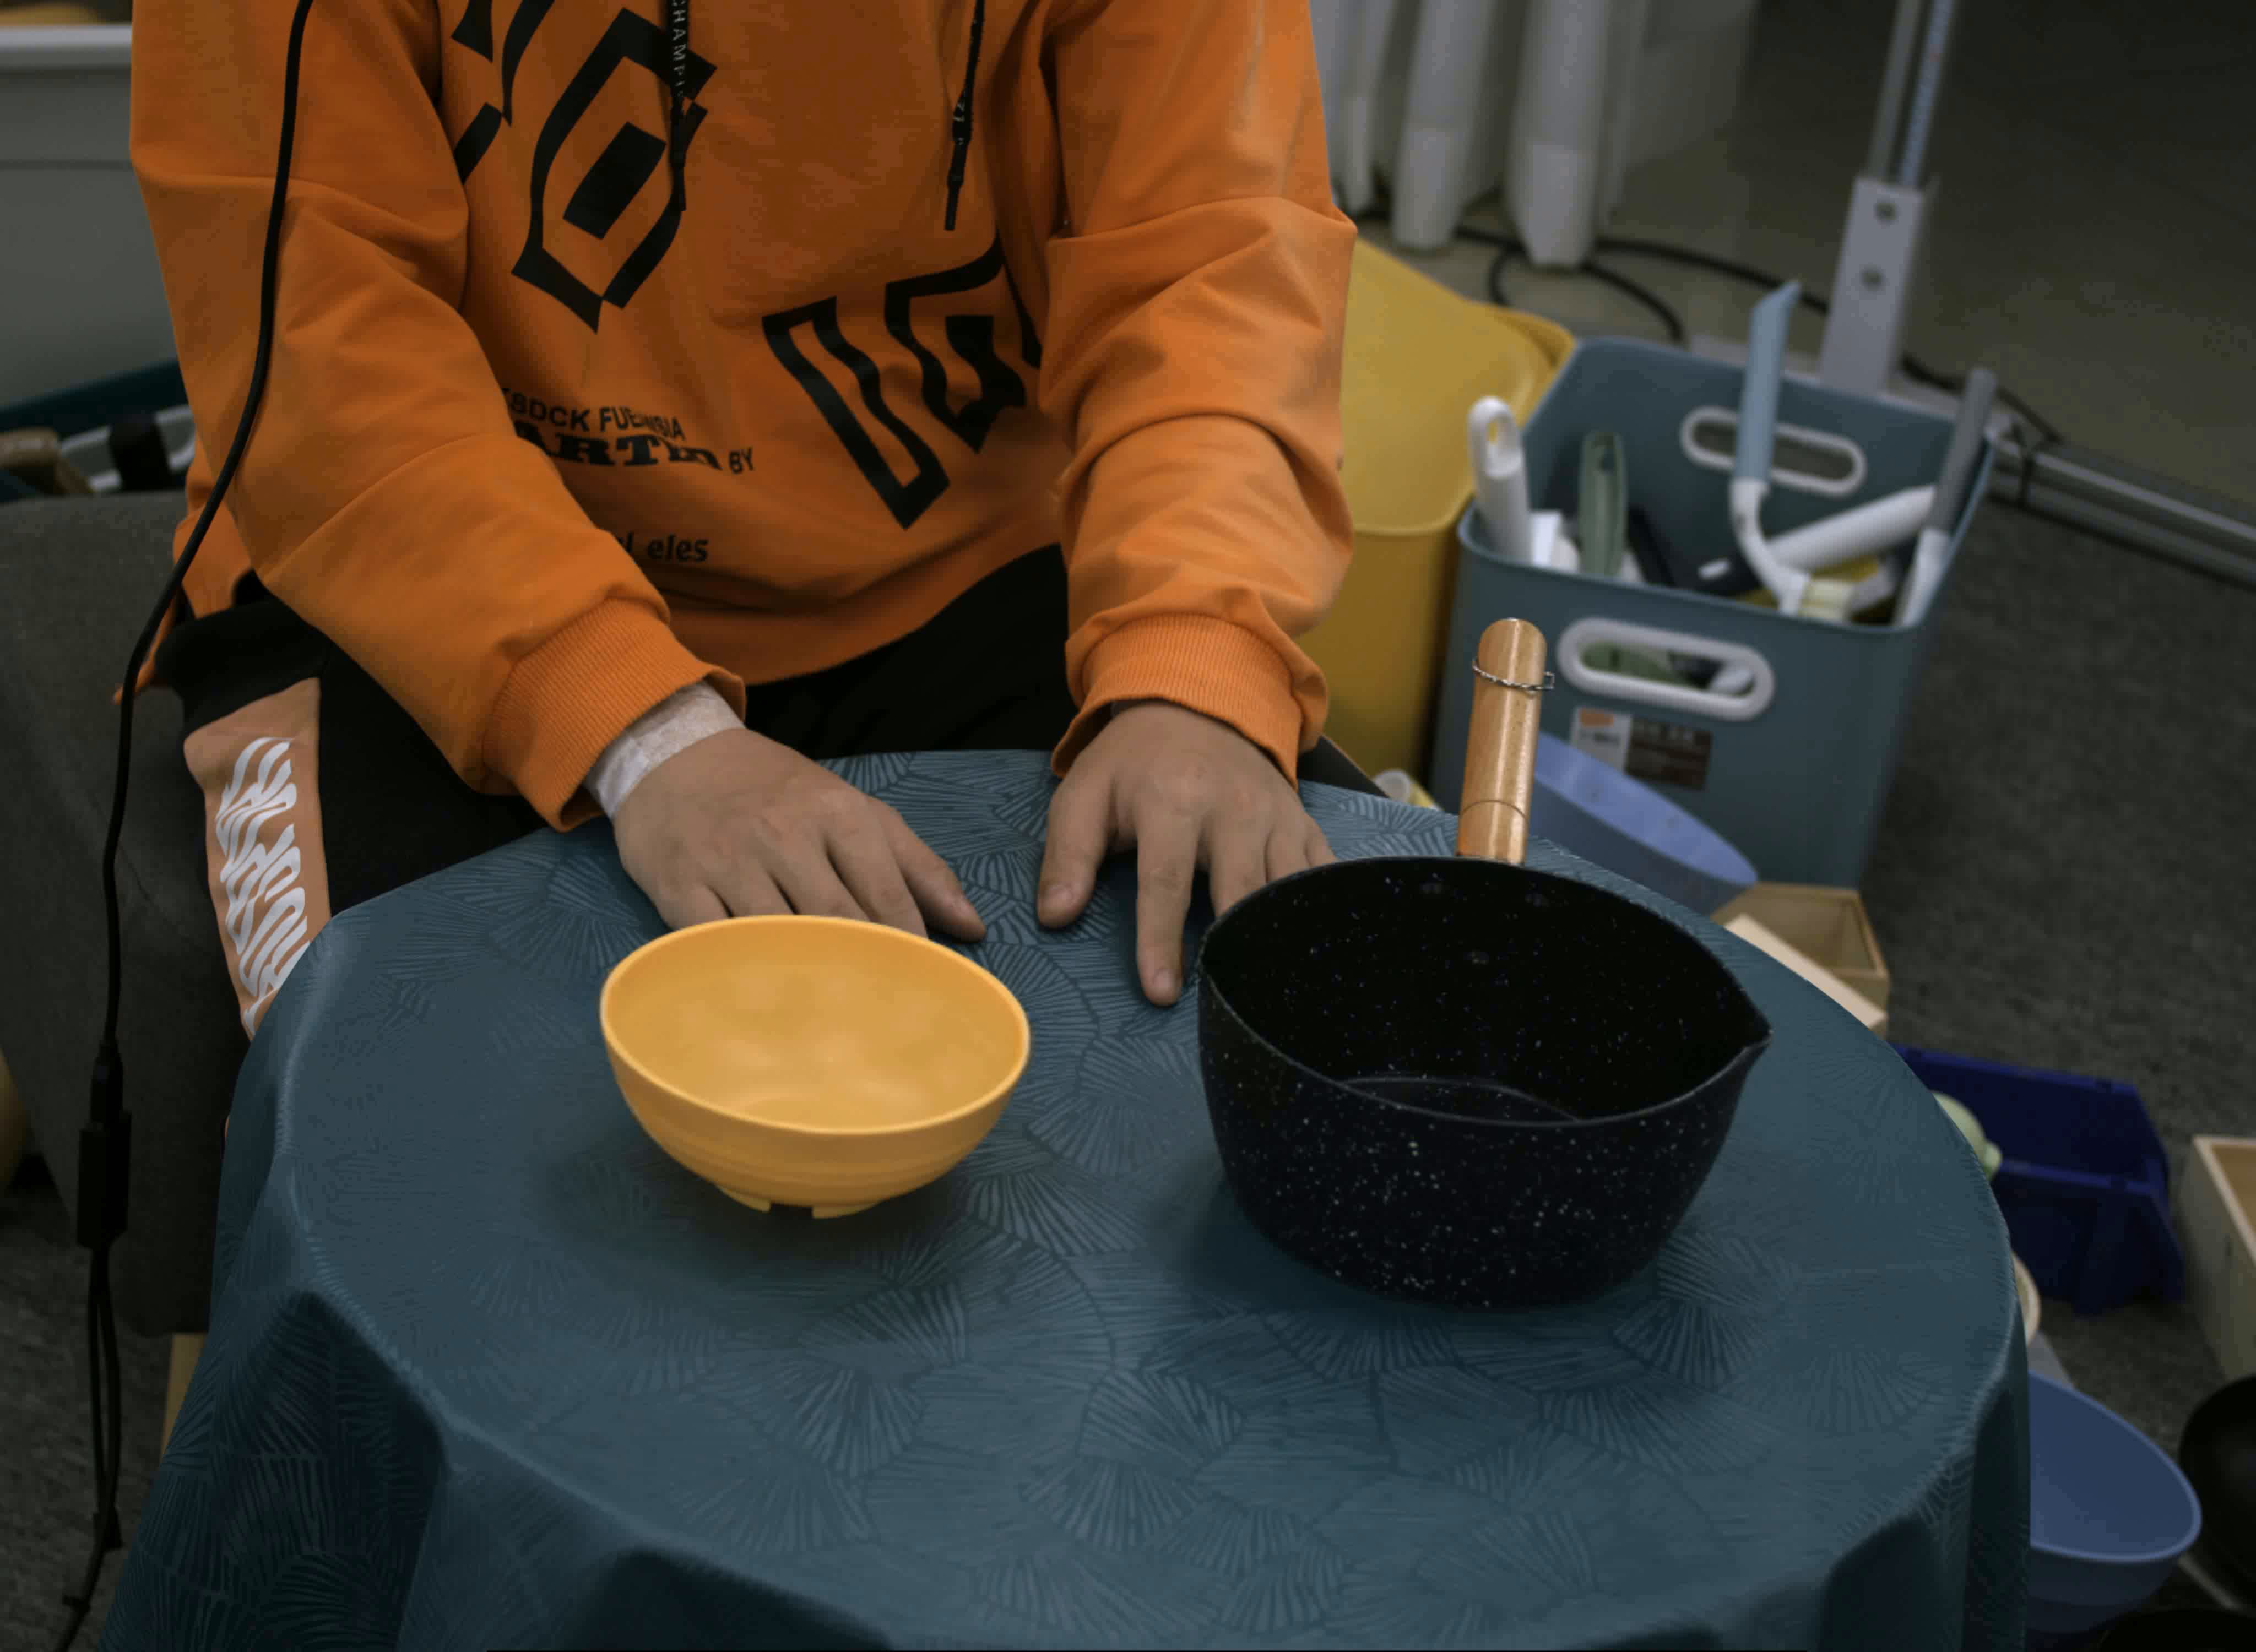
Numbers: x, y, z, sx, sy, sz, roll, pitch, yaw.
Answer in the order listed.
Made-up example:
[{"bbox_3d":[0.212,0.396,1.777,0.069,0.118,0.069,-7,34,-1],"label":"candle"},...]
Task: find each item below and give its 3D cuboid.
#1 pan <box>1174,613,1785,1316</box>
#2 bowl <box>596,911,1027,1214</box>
[{"bbox_3d":[0.122,0.044,1.867,0.207,0.108,0.344,6,28,3],"label":"pan"},{"bbox_3d":[-0.109,0.089,1.782,0.145,0.060,0.146,7,27,-4],"label":"bowl"}]
